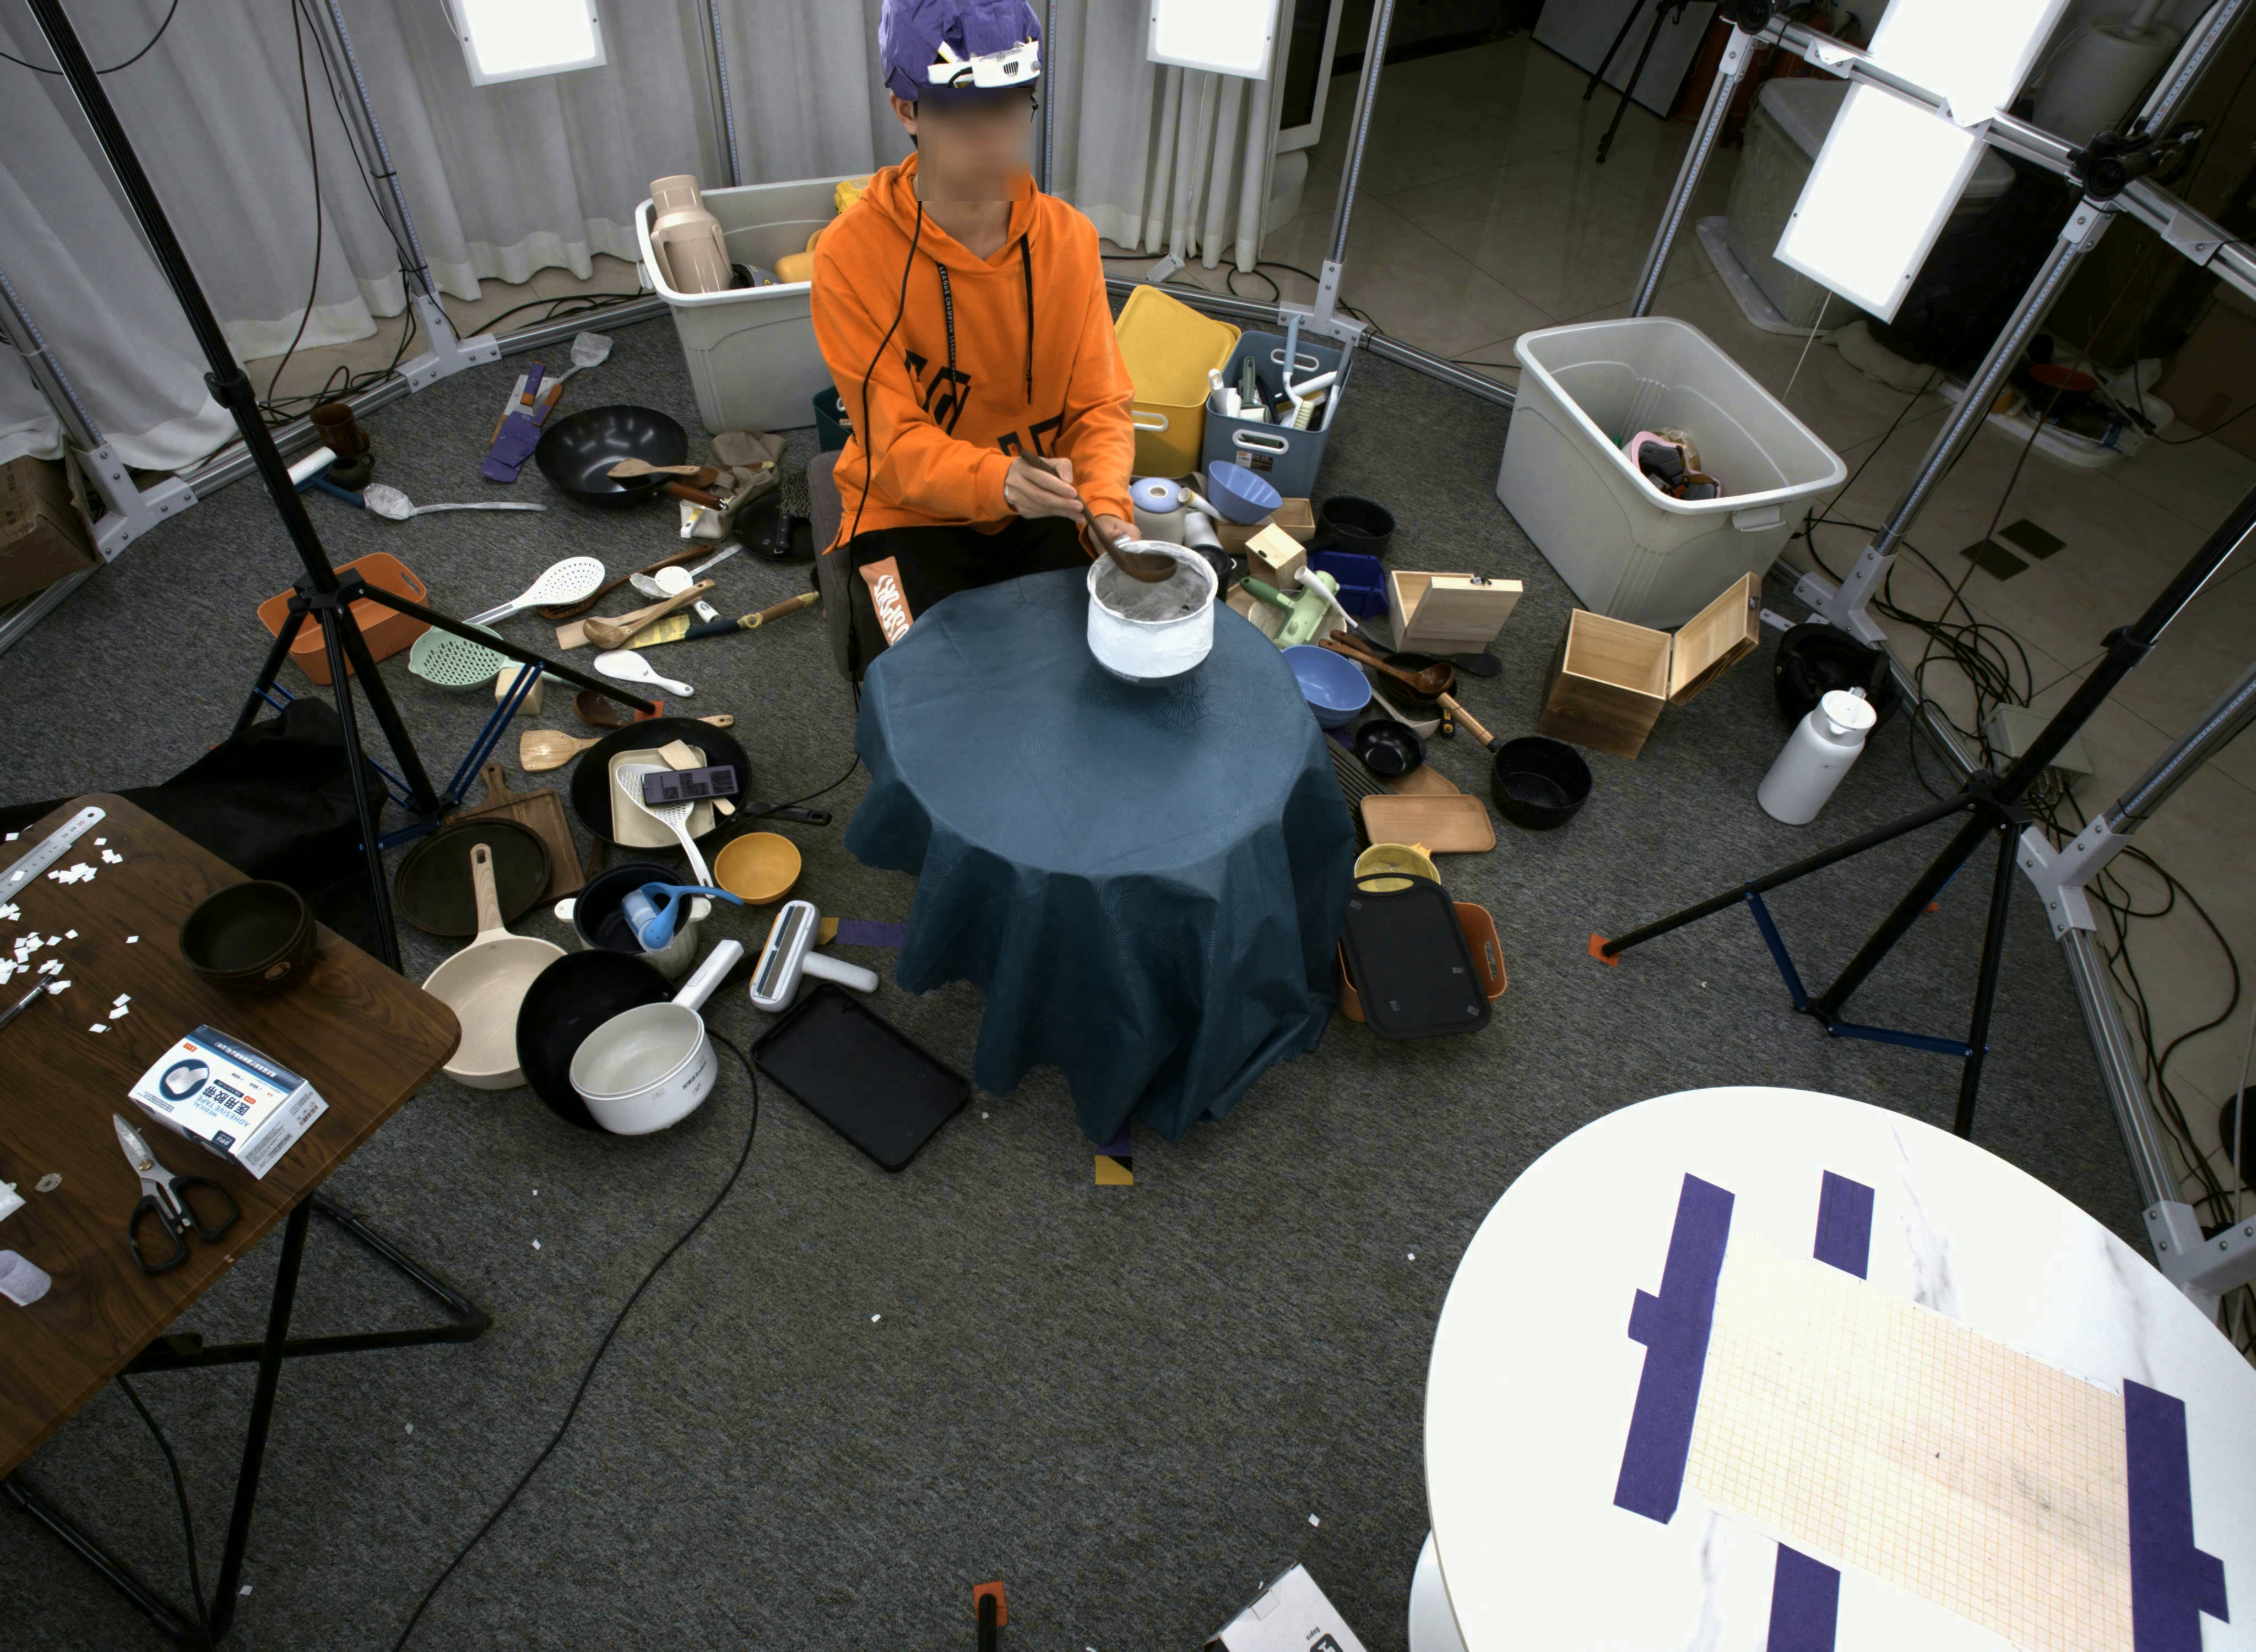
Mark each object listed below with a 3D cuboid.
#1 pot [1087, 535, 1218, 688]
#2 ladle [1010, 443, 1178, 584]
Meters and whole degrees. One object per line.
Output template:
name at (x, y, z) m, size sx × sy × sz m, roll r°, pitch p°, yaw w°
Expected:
pot at (0.020, -0.309, 1.798) m, size 0.179 × 0.133 × 0.239 m, roll -17°, pitch 51°, yaw -17°
ladle at (-0.039, -0.426, 1.726) m, size 0.071 × 0.270 × 0.077 m, roll -39°, pitch 22°, yaw 13°
